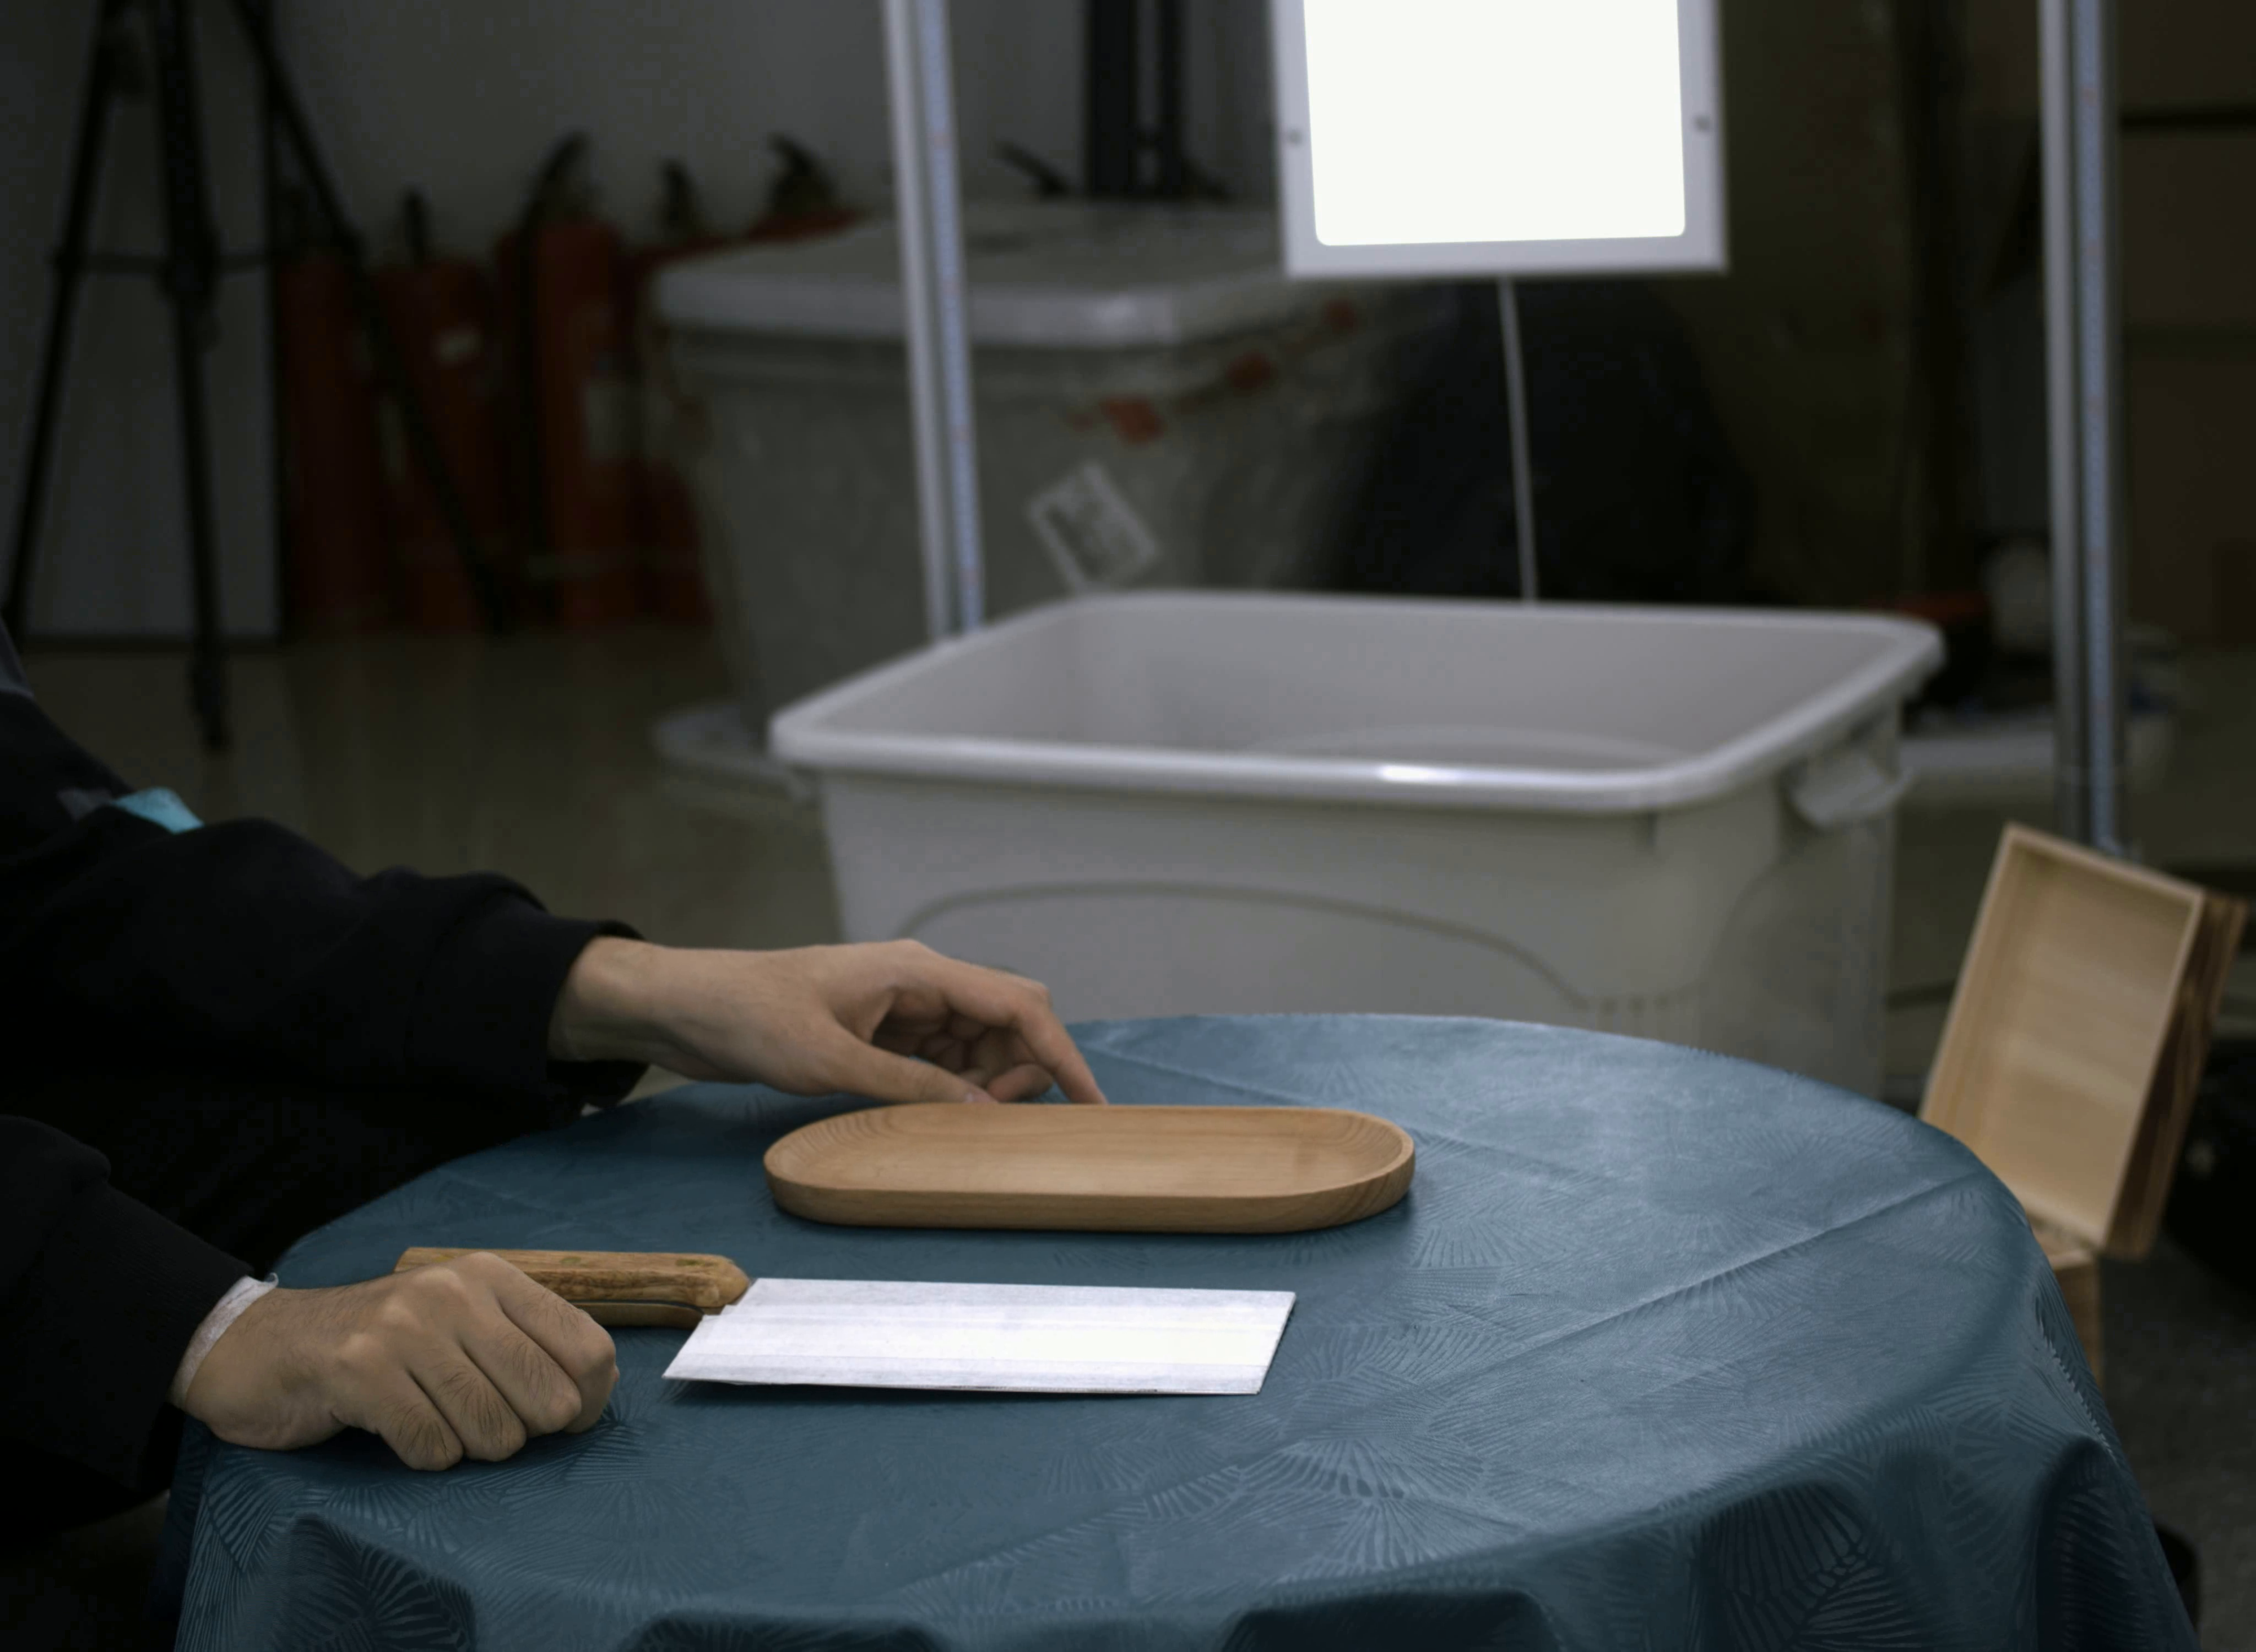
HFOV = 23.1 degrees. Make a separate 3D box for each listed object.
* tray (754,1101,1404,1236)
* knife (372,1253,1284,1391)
[{"bbox_3d":[-0.017,0.118,1.901,0.234,0.020,0.100,-1,14,19],"label":"tray"},{"bbox_3d":[-0.102,0.161,1.763,0.308,0.021,0.092,0,16,12],"label":"knife"}]
